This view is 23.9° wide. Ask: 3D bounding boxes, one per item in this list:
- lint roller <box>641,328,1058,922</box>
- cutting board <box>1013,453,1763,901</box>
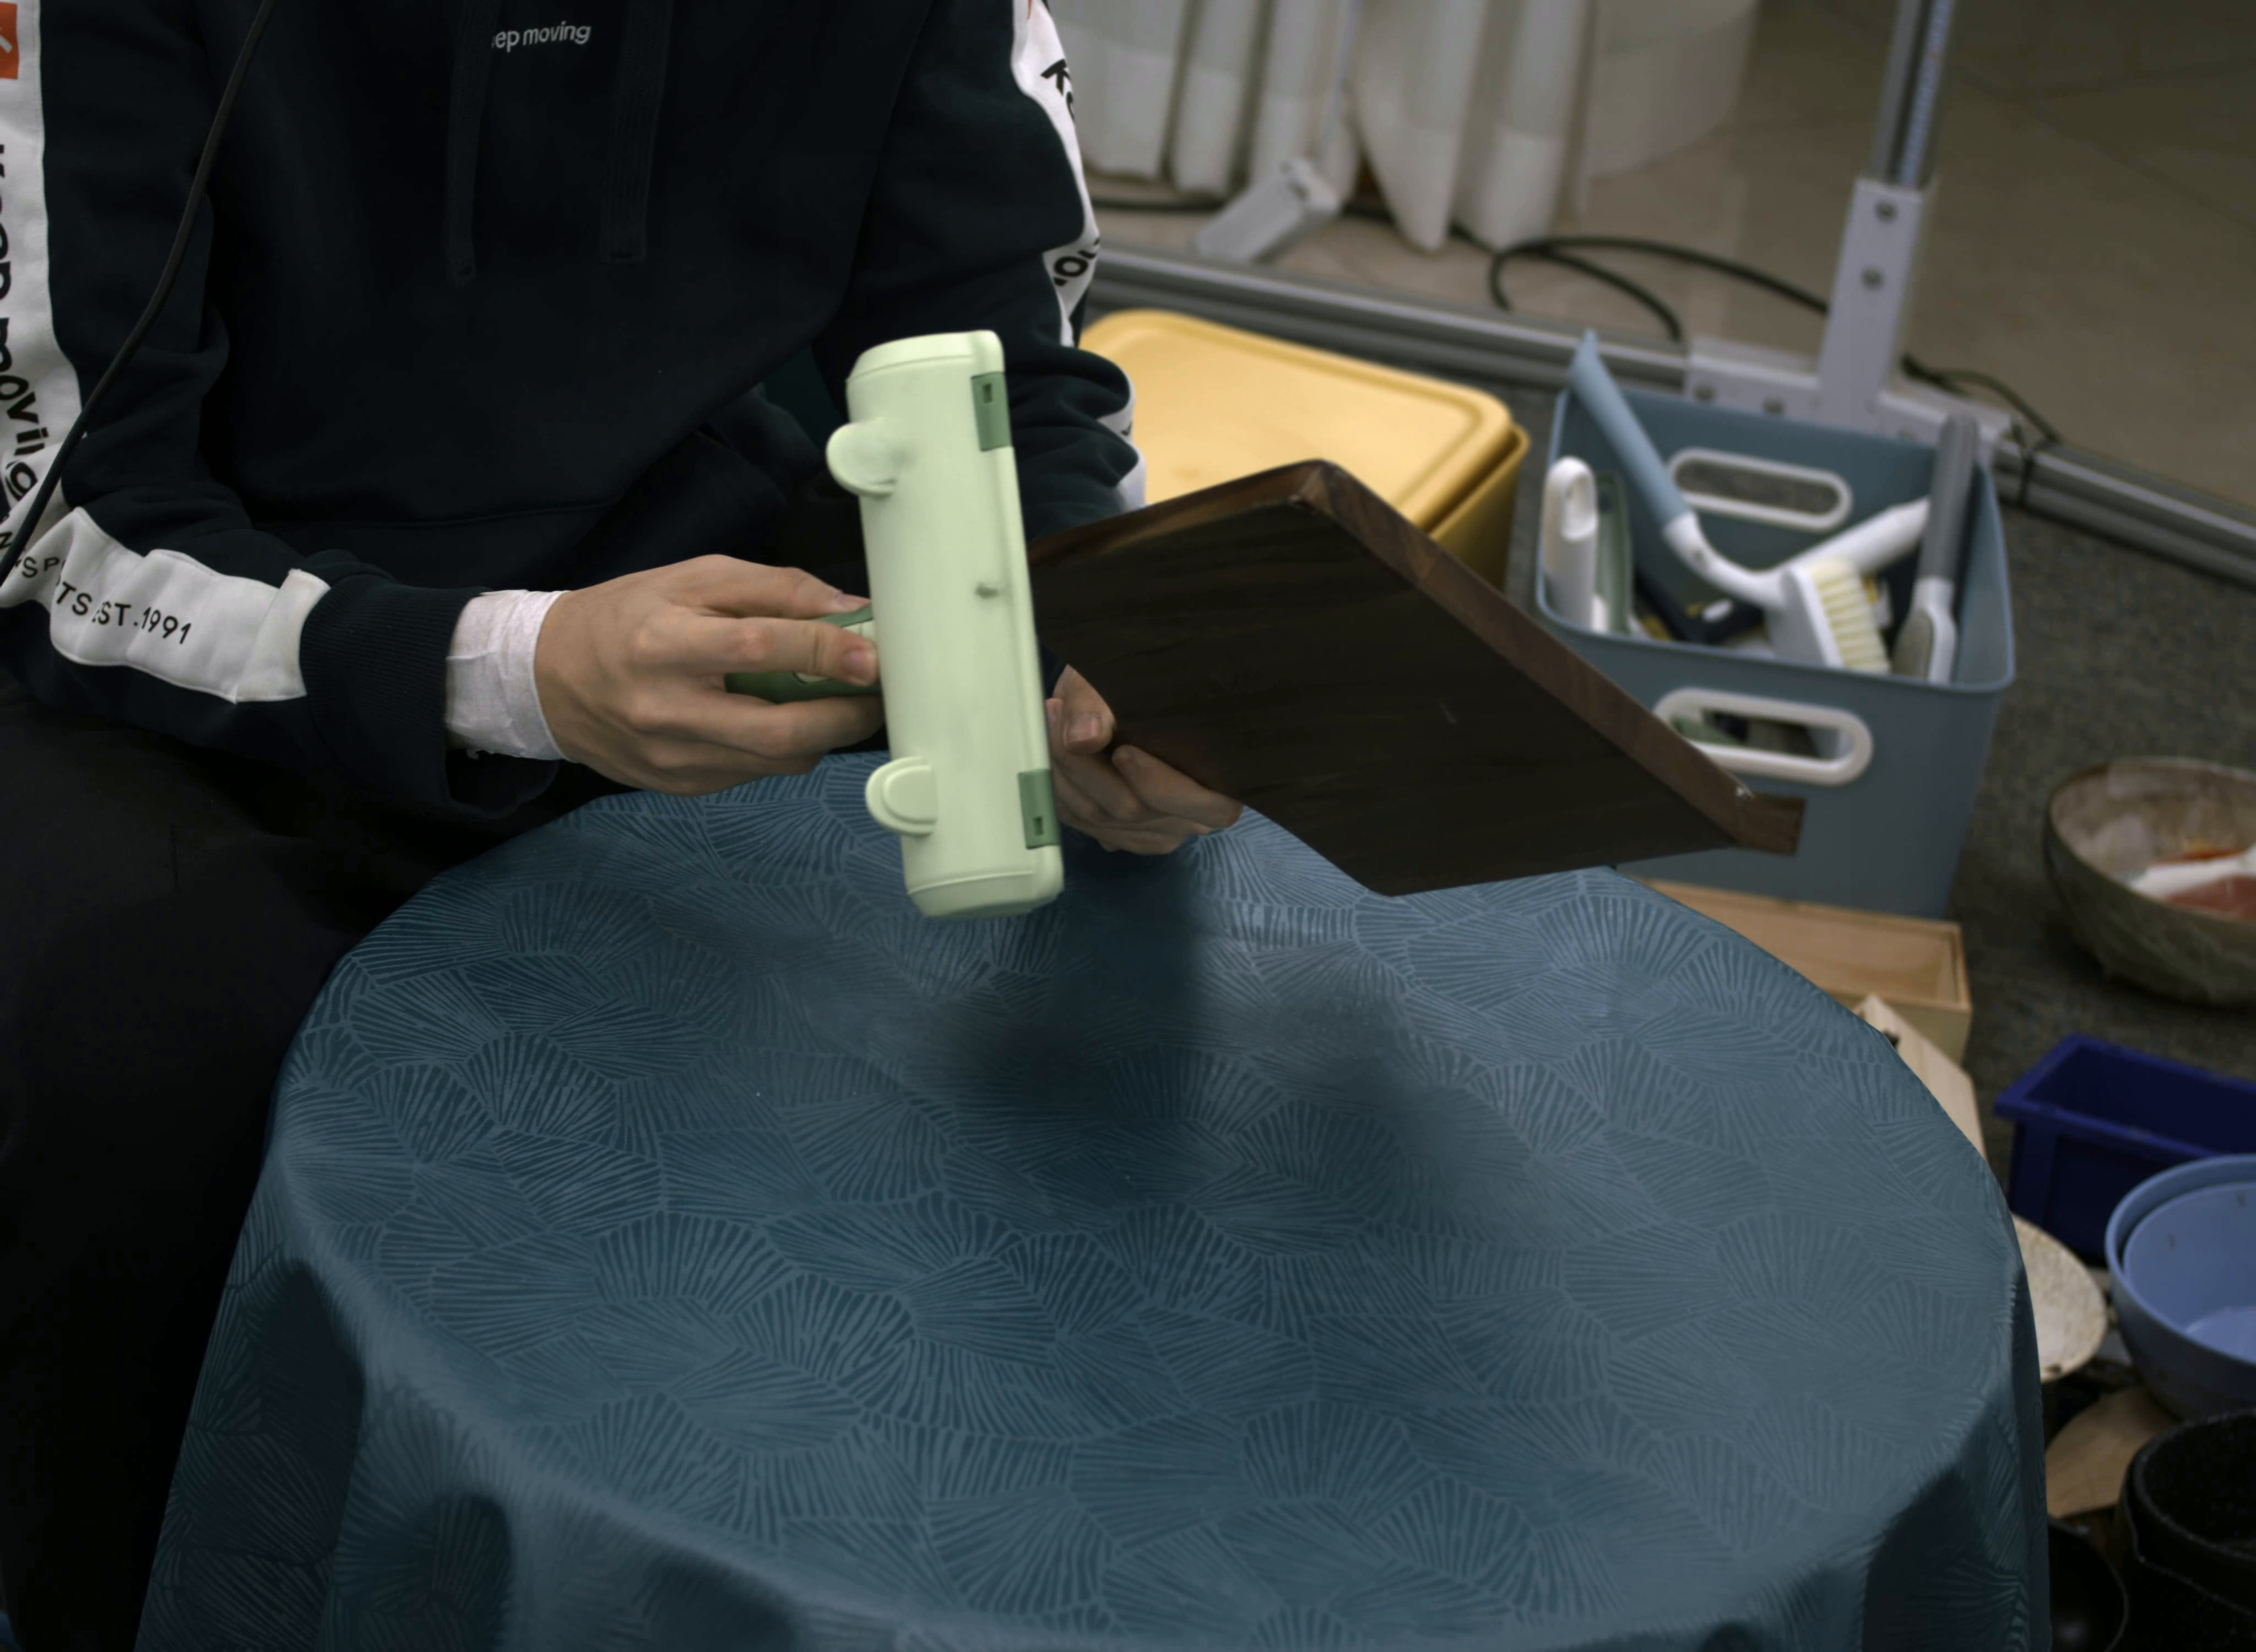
[{"bbox_3d":[-0.110,-0.058,1.822,0.184,0.199,0.081,-11,-8,31],"label":"lint roller"},{"bbox_3d":[0.056,-0.041,1.851,0.200,0.023,0.353,38,-20,-18],"label":"cutting board"}]
